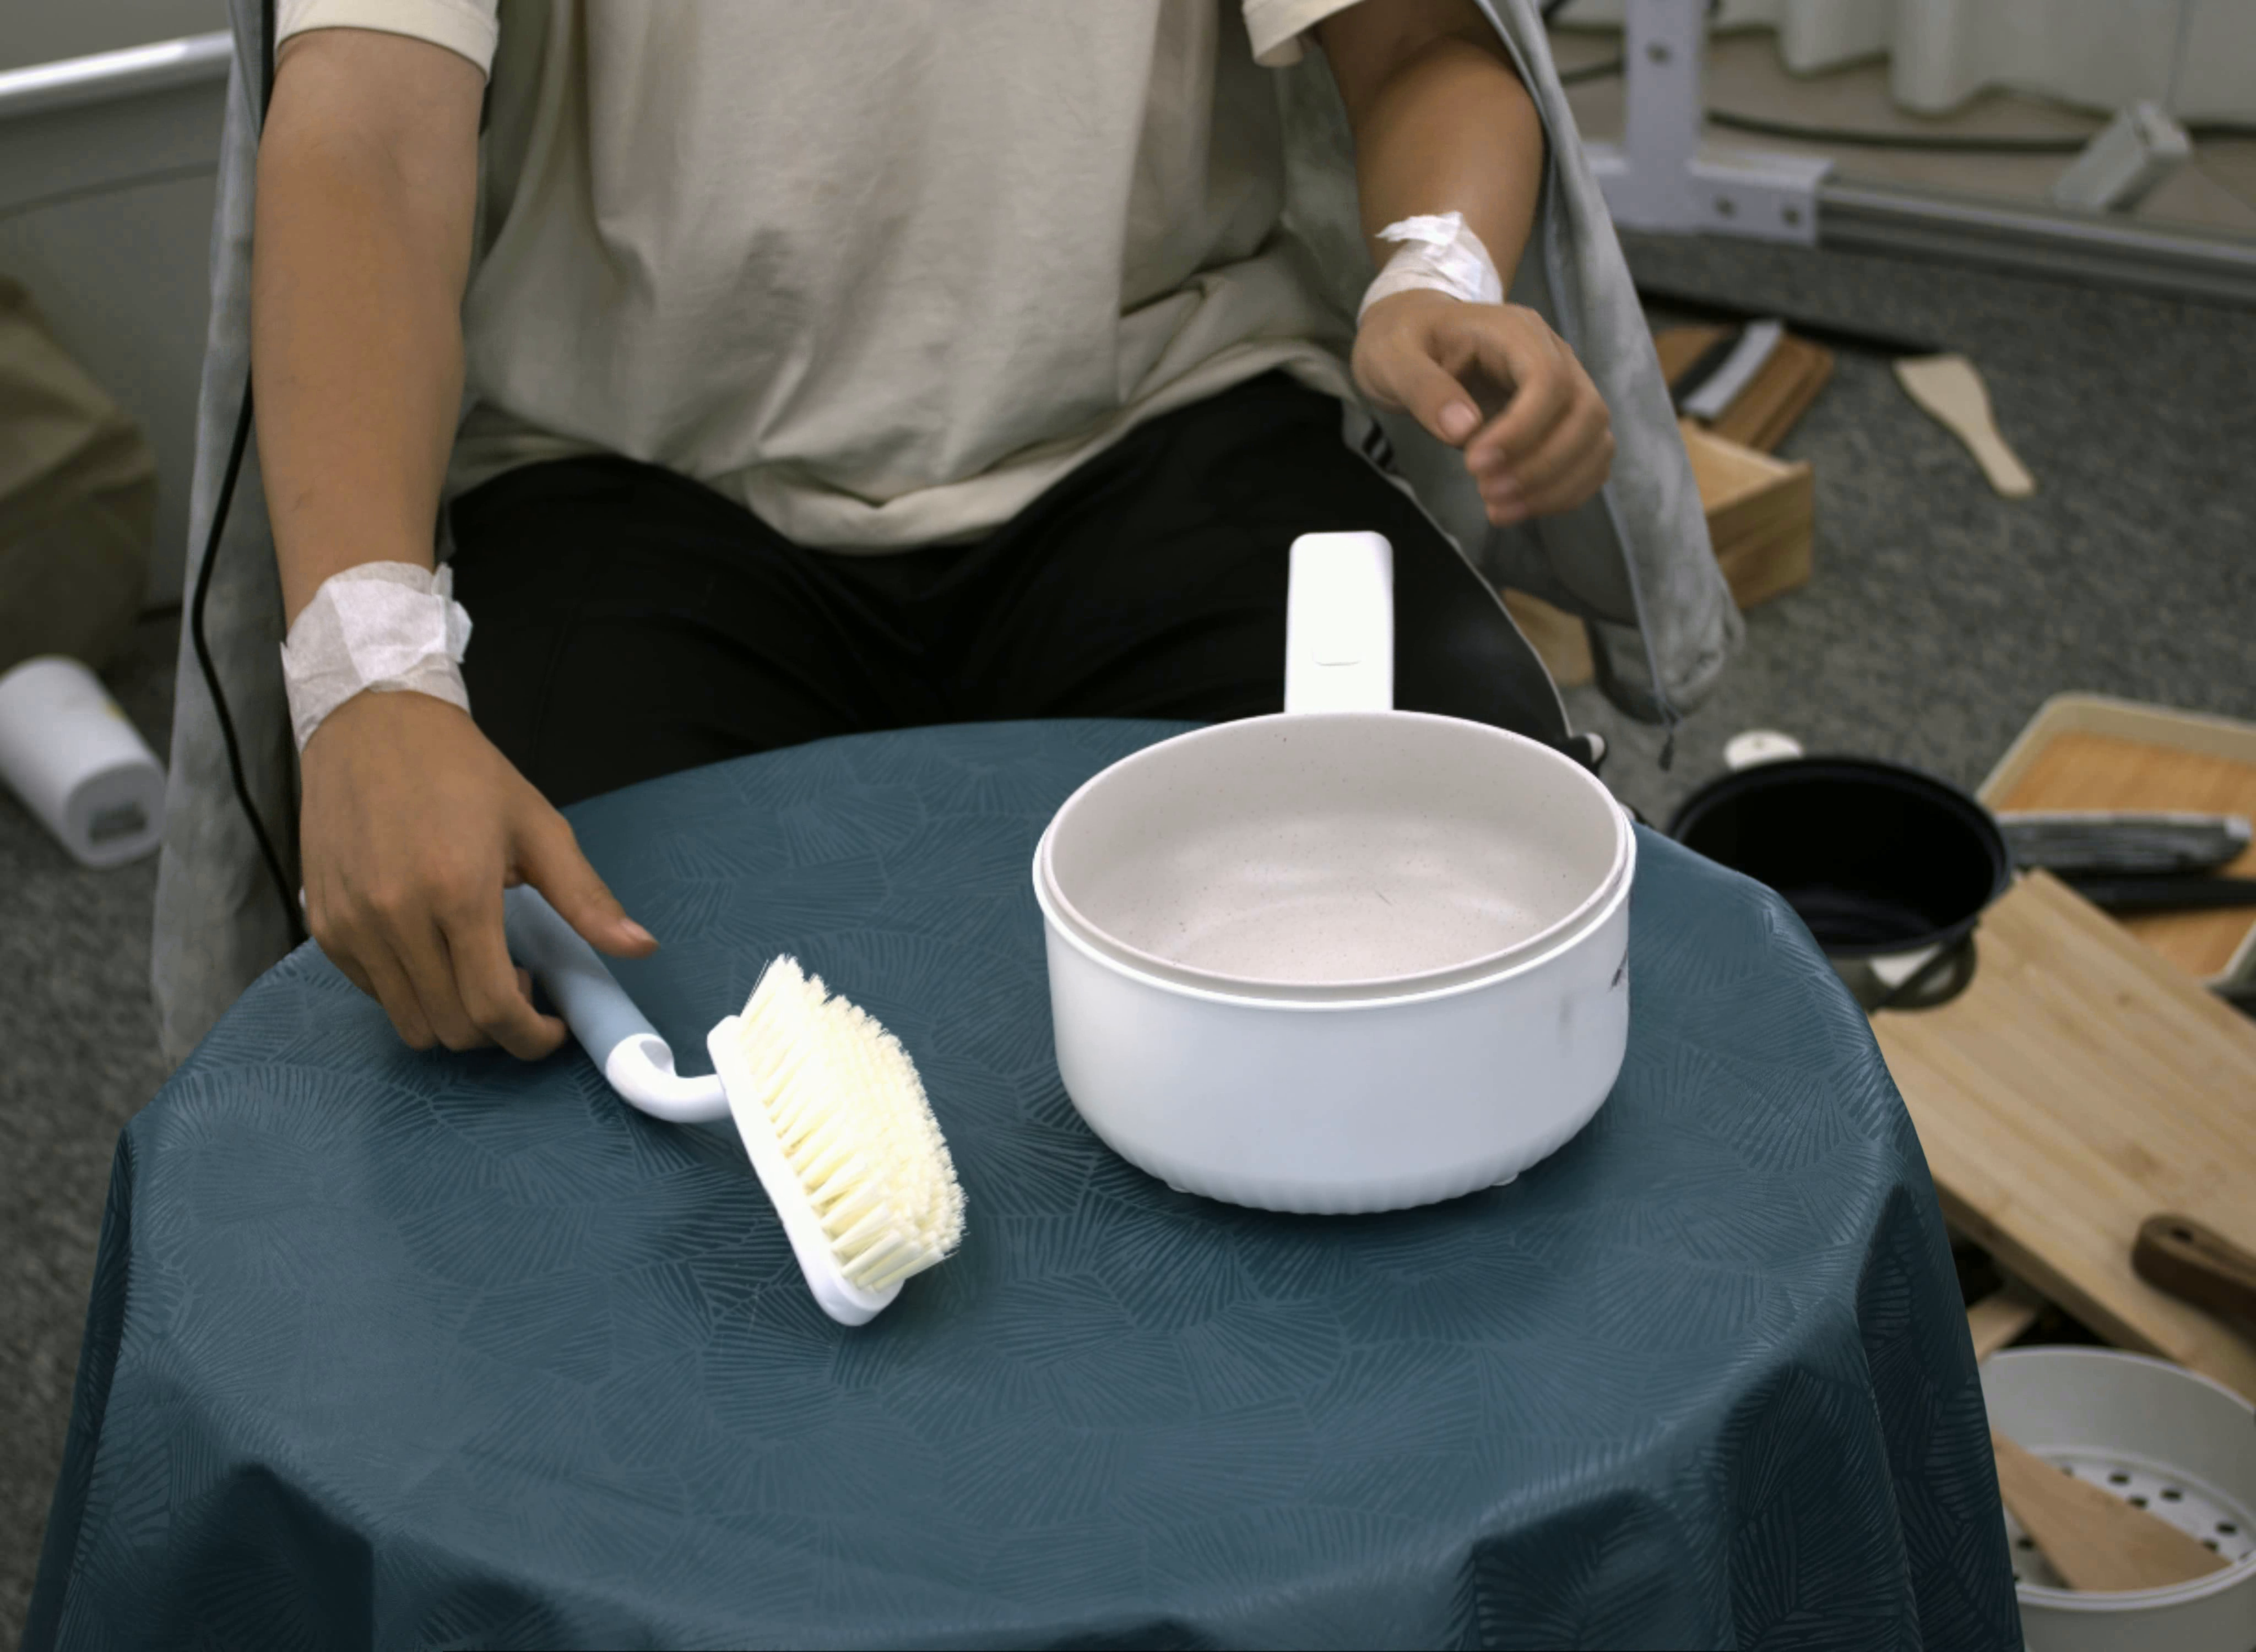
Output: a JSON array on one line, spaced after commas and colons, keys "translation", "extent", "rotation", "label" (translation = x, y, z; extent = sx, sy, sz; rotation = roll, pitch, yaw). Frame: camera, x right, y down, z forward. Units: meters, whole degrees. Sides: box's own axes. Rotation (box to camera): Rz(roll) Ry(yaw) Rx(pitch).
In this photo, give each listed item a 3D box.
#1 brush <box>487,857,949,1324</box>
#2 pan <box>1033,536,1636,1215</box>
[{"translation": [-0.138, 0.060, 1.906], "extent": [0.085, 0.082, 0.328], "rotation": [-17, 31, -18], "label": "brush"}, {"translation": [0.074, 0.014, 1.955], "extent": [0.200, 0.101, 0.360], "rotation": [-2, 26, 3], "label": "pan"}]
